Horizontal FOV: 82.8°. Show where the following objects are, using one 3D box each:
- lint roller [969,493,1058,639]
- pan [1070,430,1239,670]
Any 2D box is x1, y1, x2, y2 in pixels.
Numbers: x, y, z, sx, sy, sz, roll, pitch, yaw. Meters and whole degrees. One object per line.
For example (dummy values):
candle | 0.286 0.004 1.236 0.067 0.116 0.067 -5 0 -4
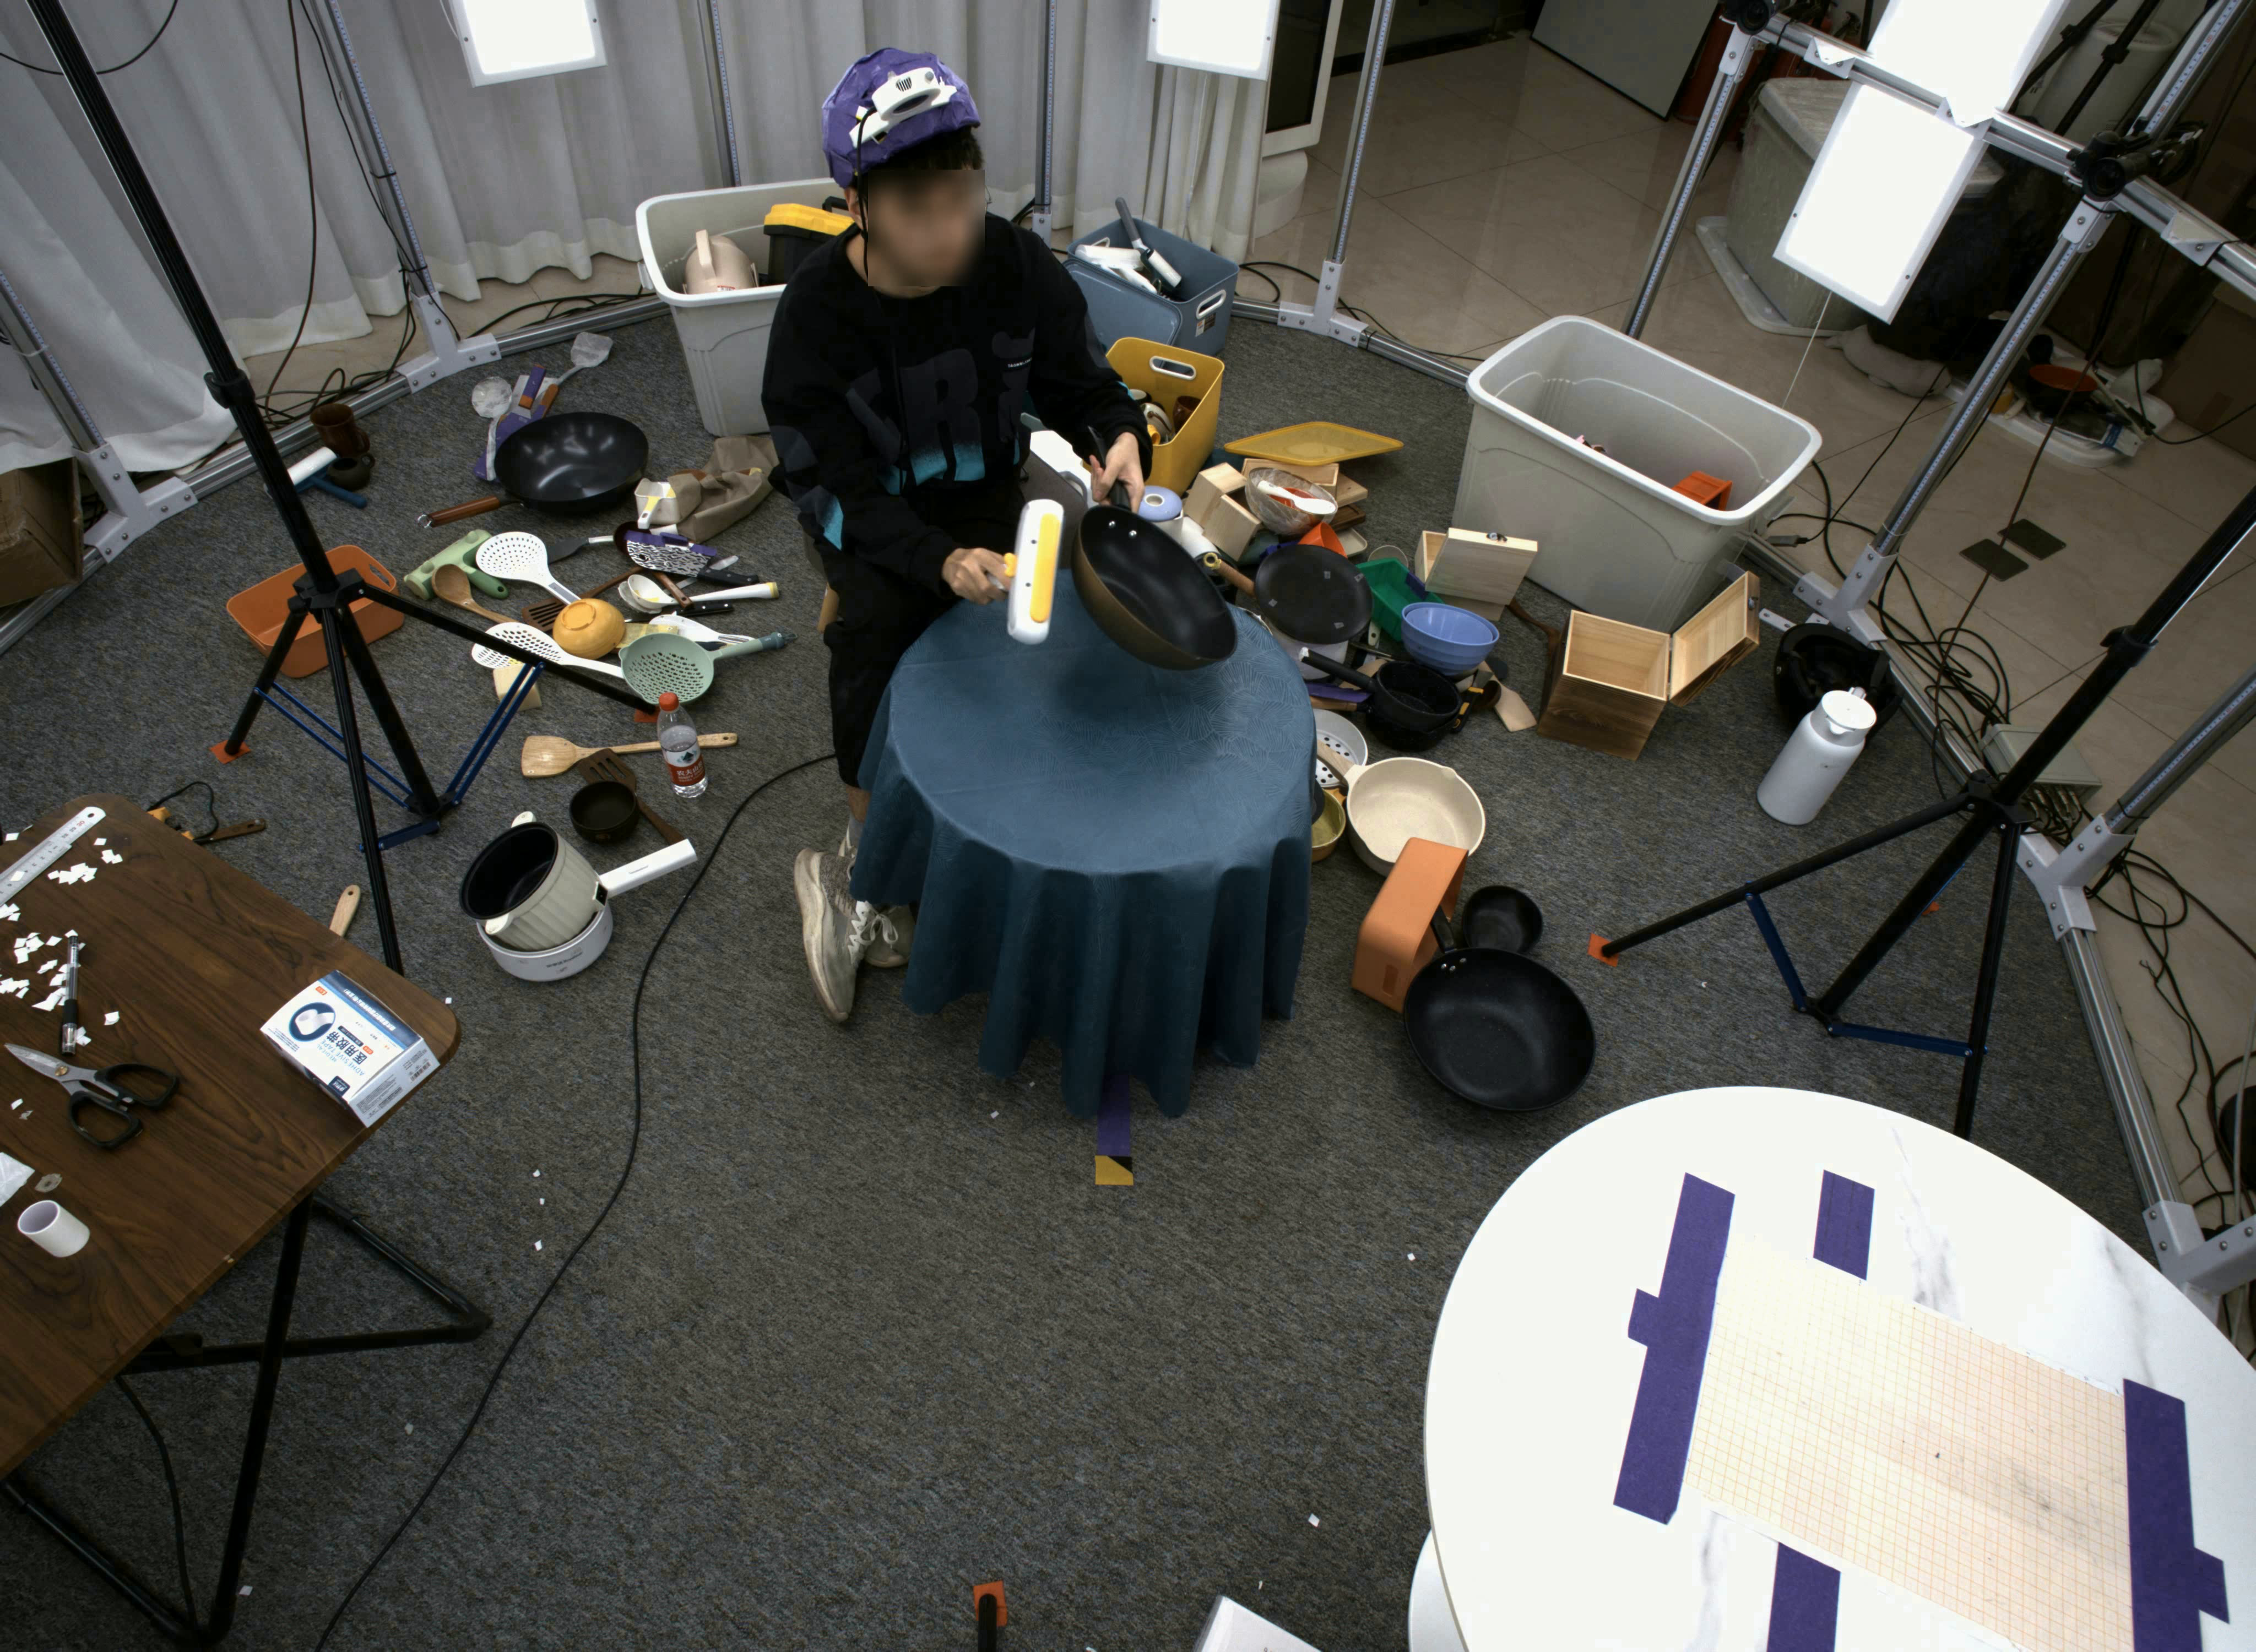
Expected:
lint roller | -0.158 -0.343 1.756 0.074 0.192 0.194 3 85 -26
pan | -0.005 -0.387 1.828 0.285 0.086 0.474 13 45 -41
